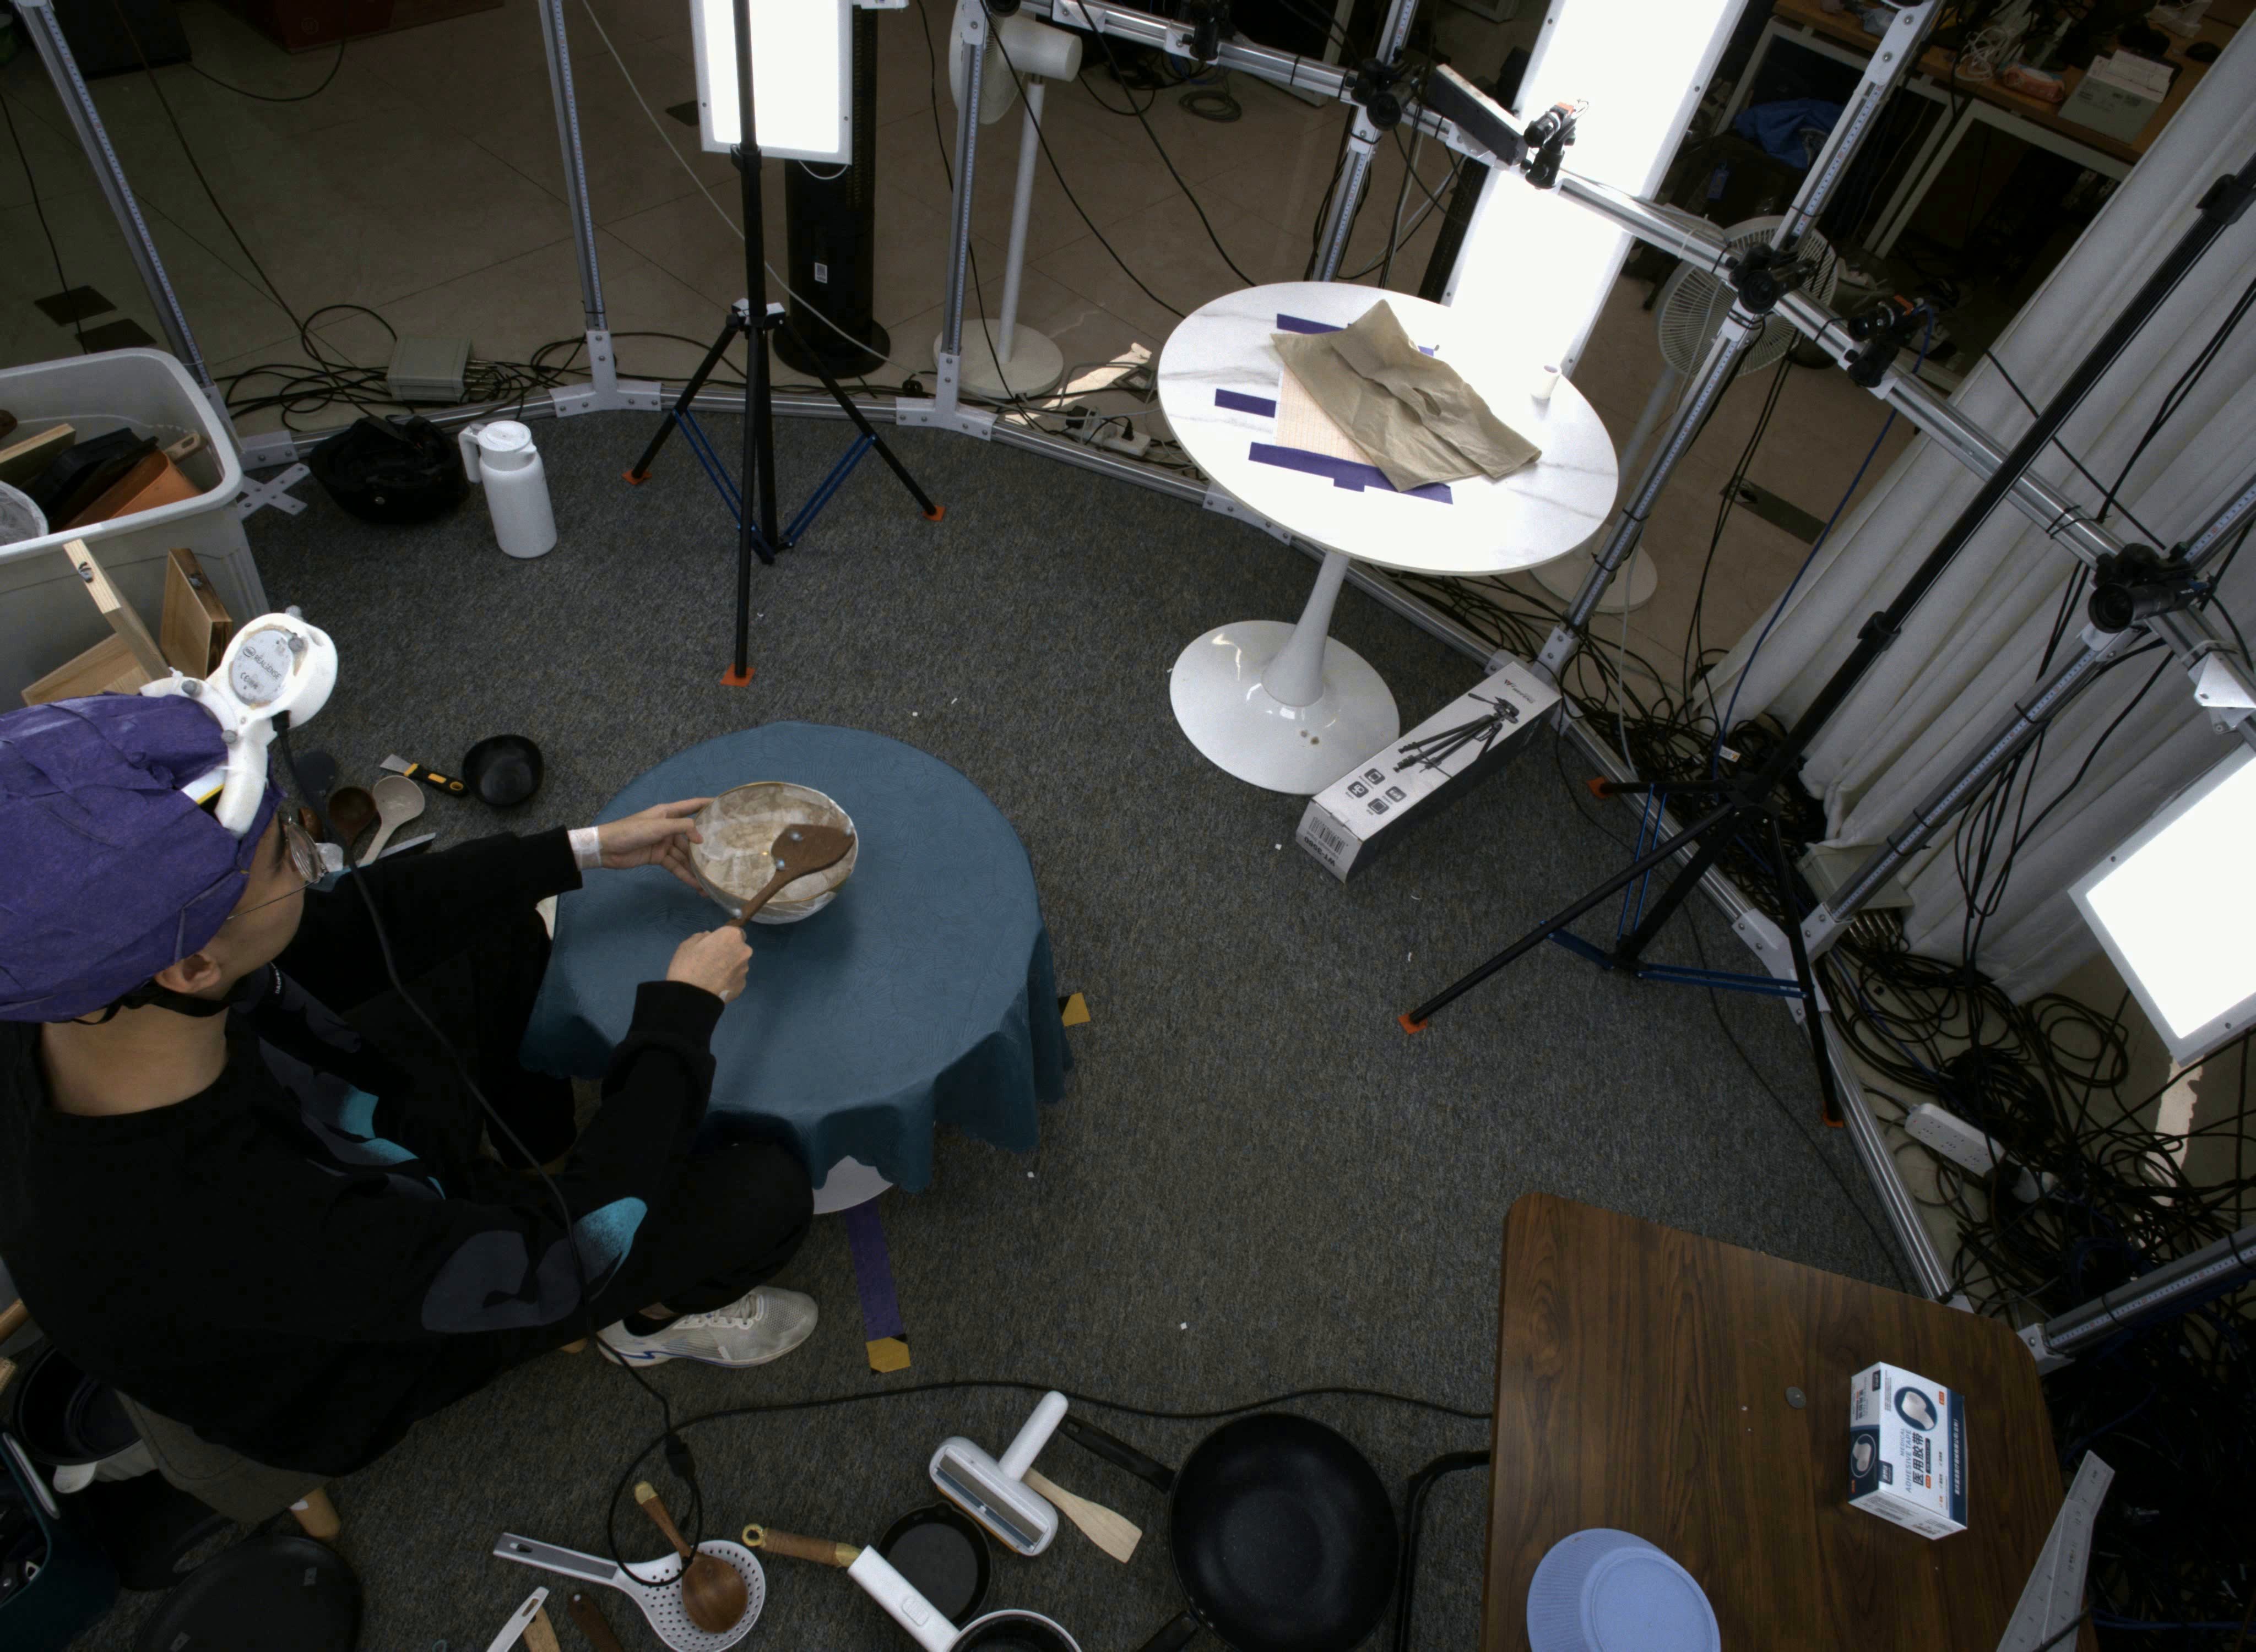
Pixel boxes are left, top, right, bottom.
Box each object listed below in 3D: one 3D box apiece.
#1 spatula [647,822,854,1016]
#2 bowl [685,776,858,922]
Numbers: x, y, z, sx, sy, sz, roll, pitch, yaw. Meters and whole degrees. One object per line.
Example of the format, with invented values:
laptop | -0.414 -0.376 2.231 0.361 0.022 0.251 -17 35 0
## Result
spatula | -0.419 0.089 1.427 0.094 0.016 0.382 9 31 12
bowl | -0.443 0.043 1.604 0.215 0.096 0.210 11 48 -10
